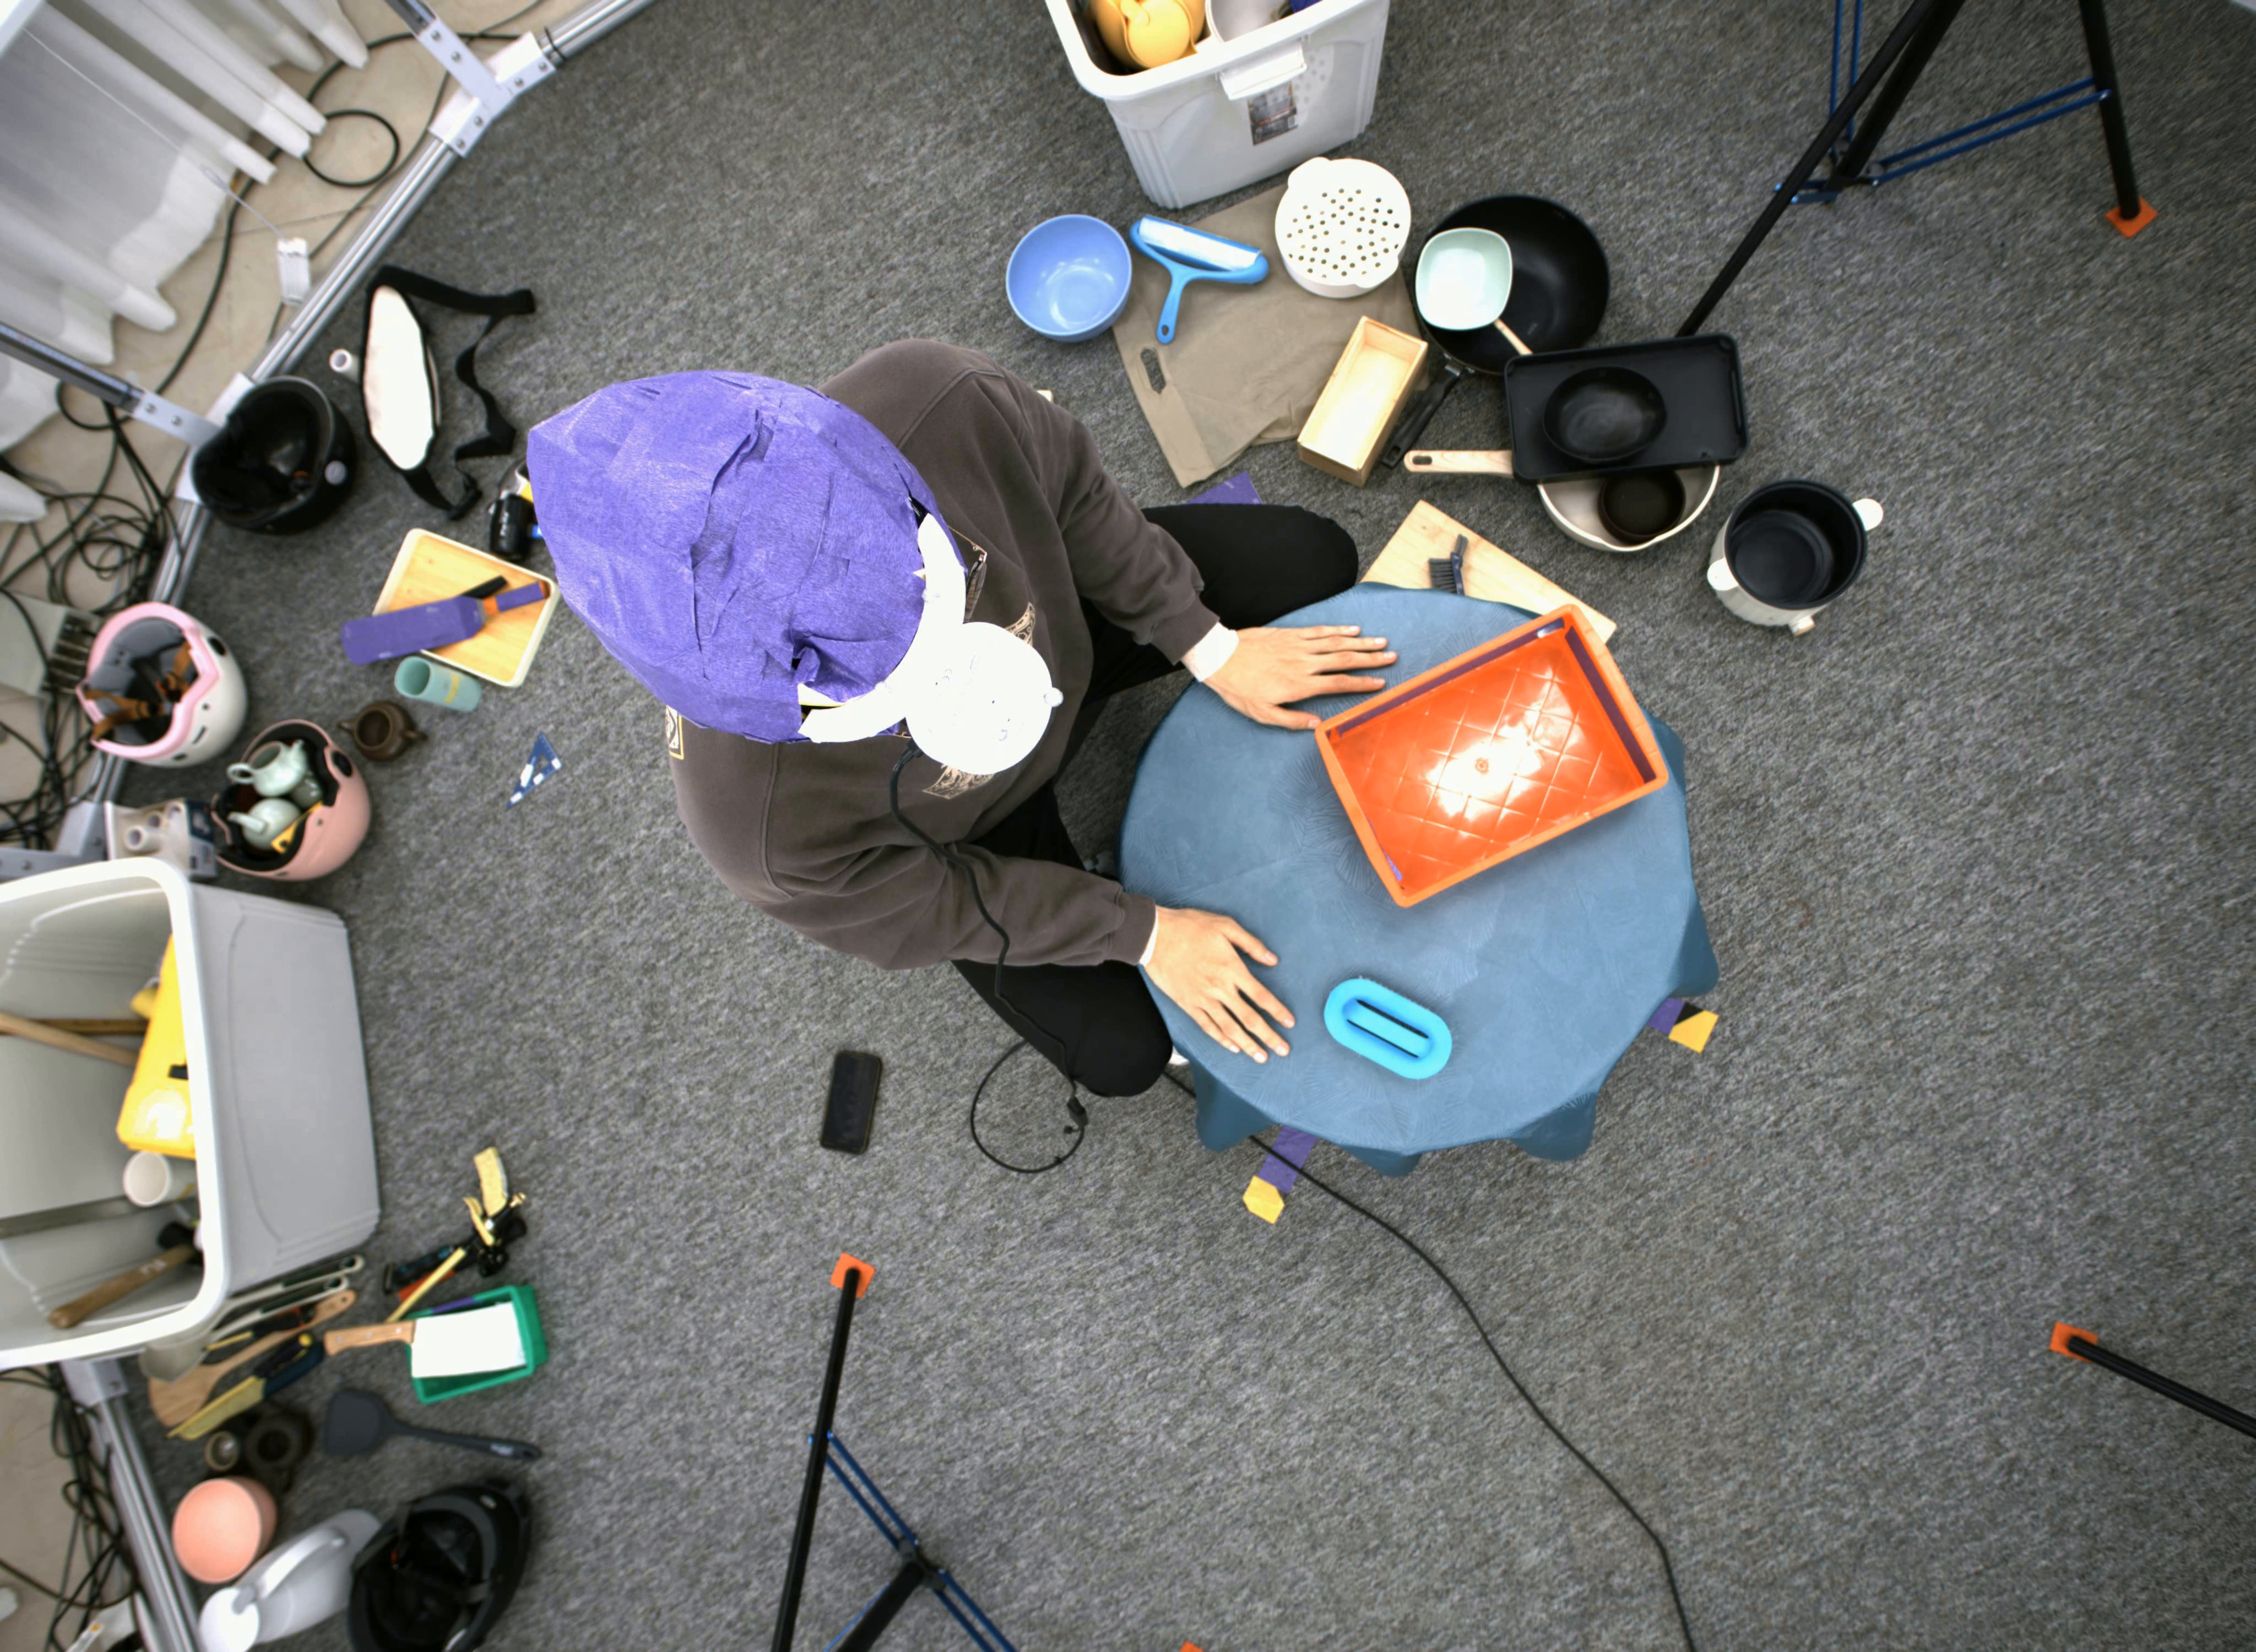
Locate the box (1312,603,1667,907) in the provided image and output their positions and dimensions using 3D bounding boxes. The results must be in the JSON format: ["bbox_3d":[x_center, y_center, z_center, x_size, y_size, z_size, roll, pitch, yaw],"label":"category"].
[{"bbox_3d":[0.363,-0.069,1.403,0.305,0.096,0.205,-25,83,8],"label":"box"}]

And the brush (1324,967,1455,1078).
[{"bbox_3d":[0.266,0.202,1.419,0.141,0.063,0.085,29,97,12],"label":"brush"}]
